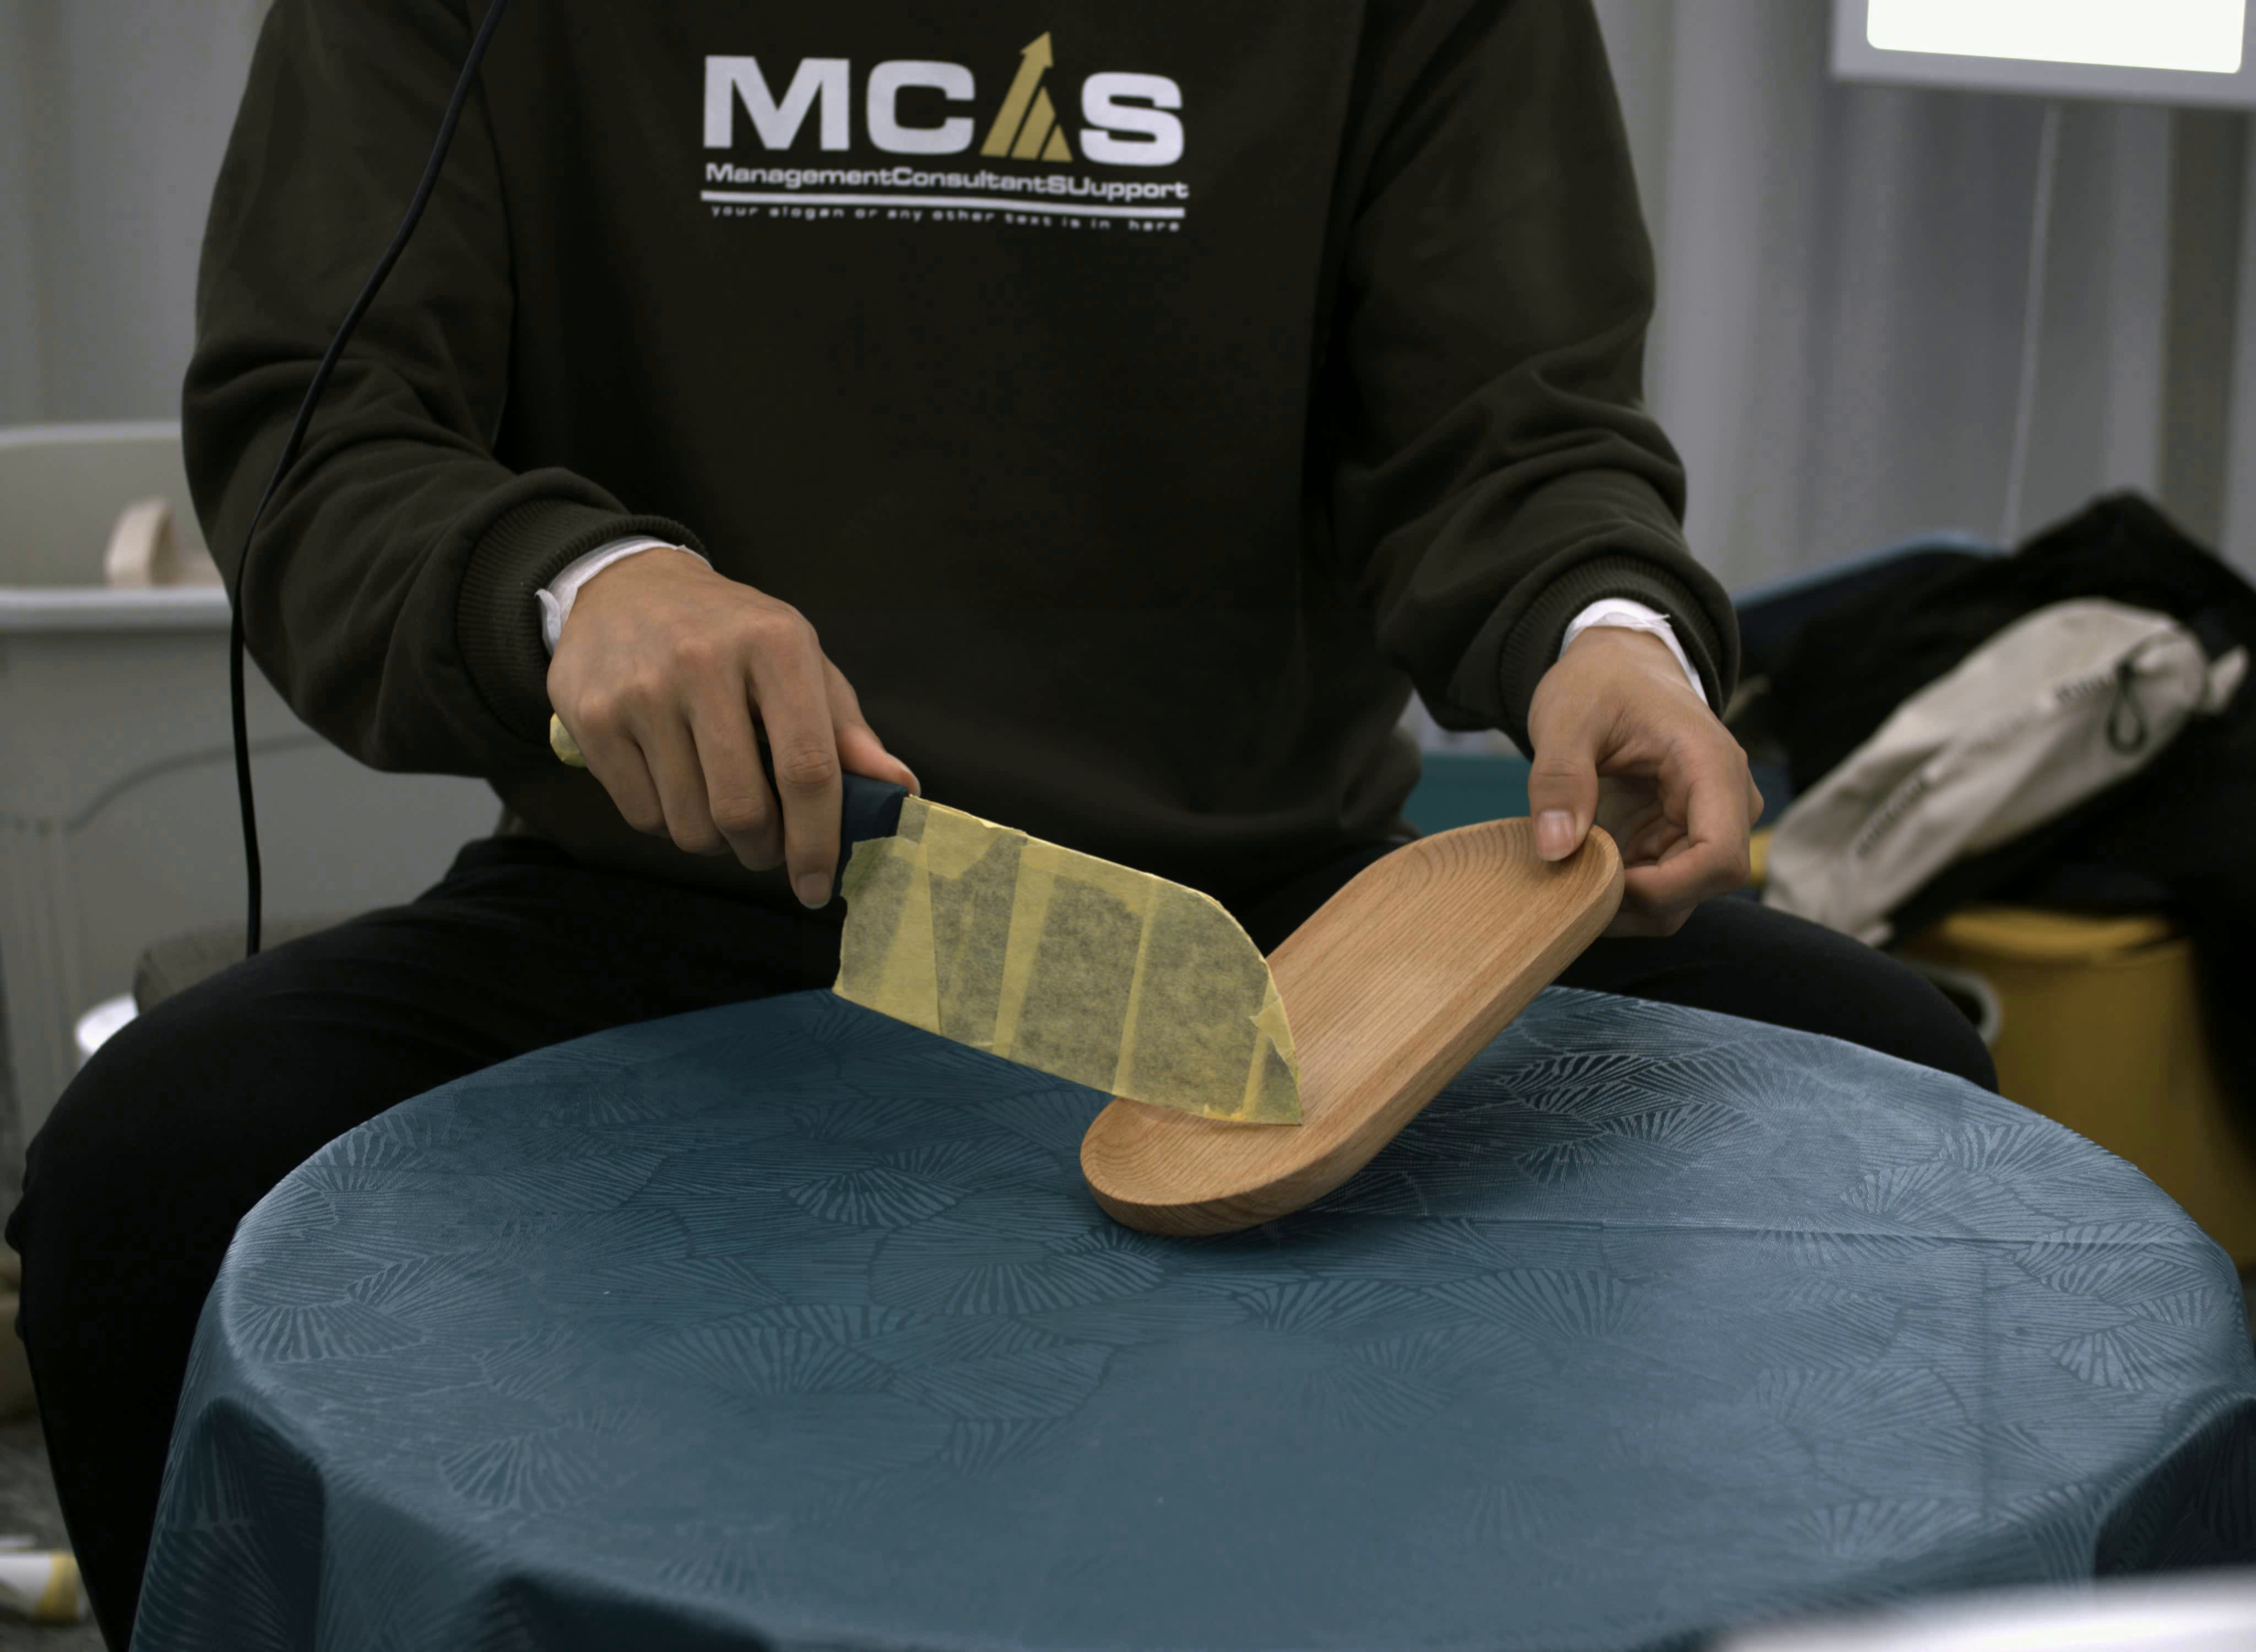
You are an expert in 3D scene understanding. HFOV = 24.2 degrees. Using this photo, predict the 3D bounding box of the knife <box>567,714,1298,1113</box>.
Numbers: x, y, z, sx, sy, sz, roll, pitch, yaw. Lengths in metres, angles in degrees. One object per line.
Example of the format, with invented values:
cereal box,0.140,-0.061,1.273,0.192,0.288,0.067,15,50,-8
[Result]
knife,-0.065,0.025,1.665,0.286,0.081,0.027,22,17,28

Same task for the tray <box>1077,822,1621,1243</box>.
tray,0.072,0.063,1.648,0.100,0.020,0.231,2,33,41
